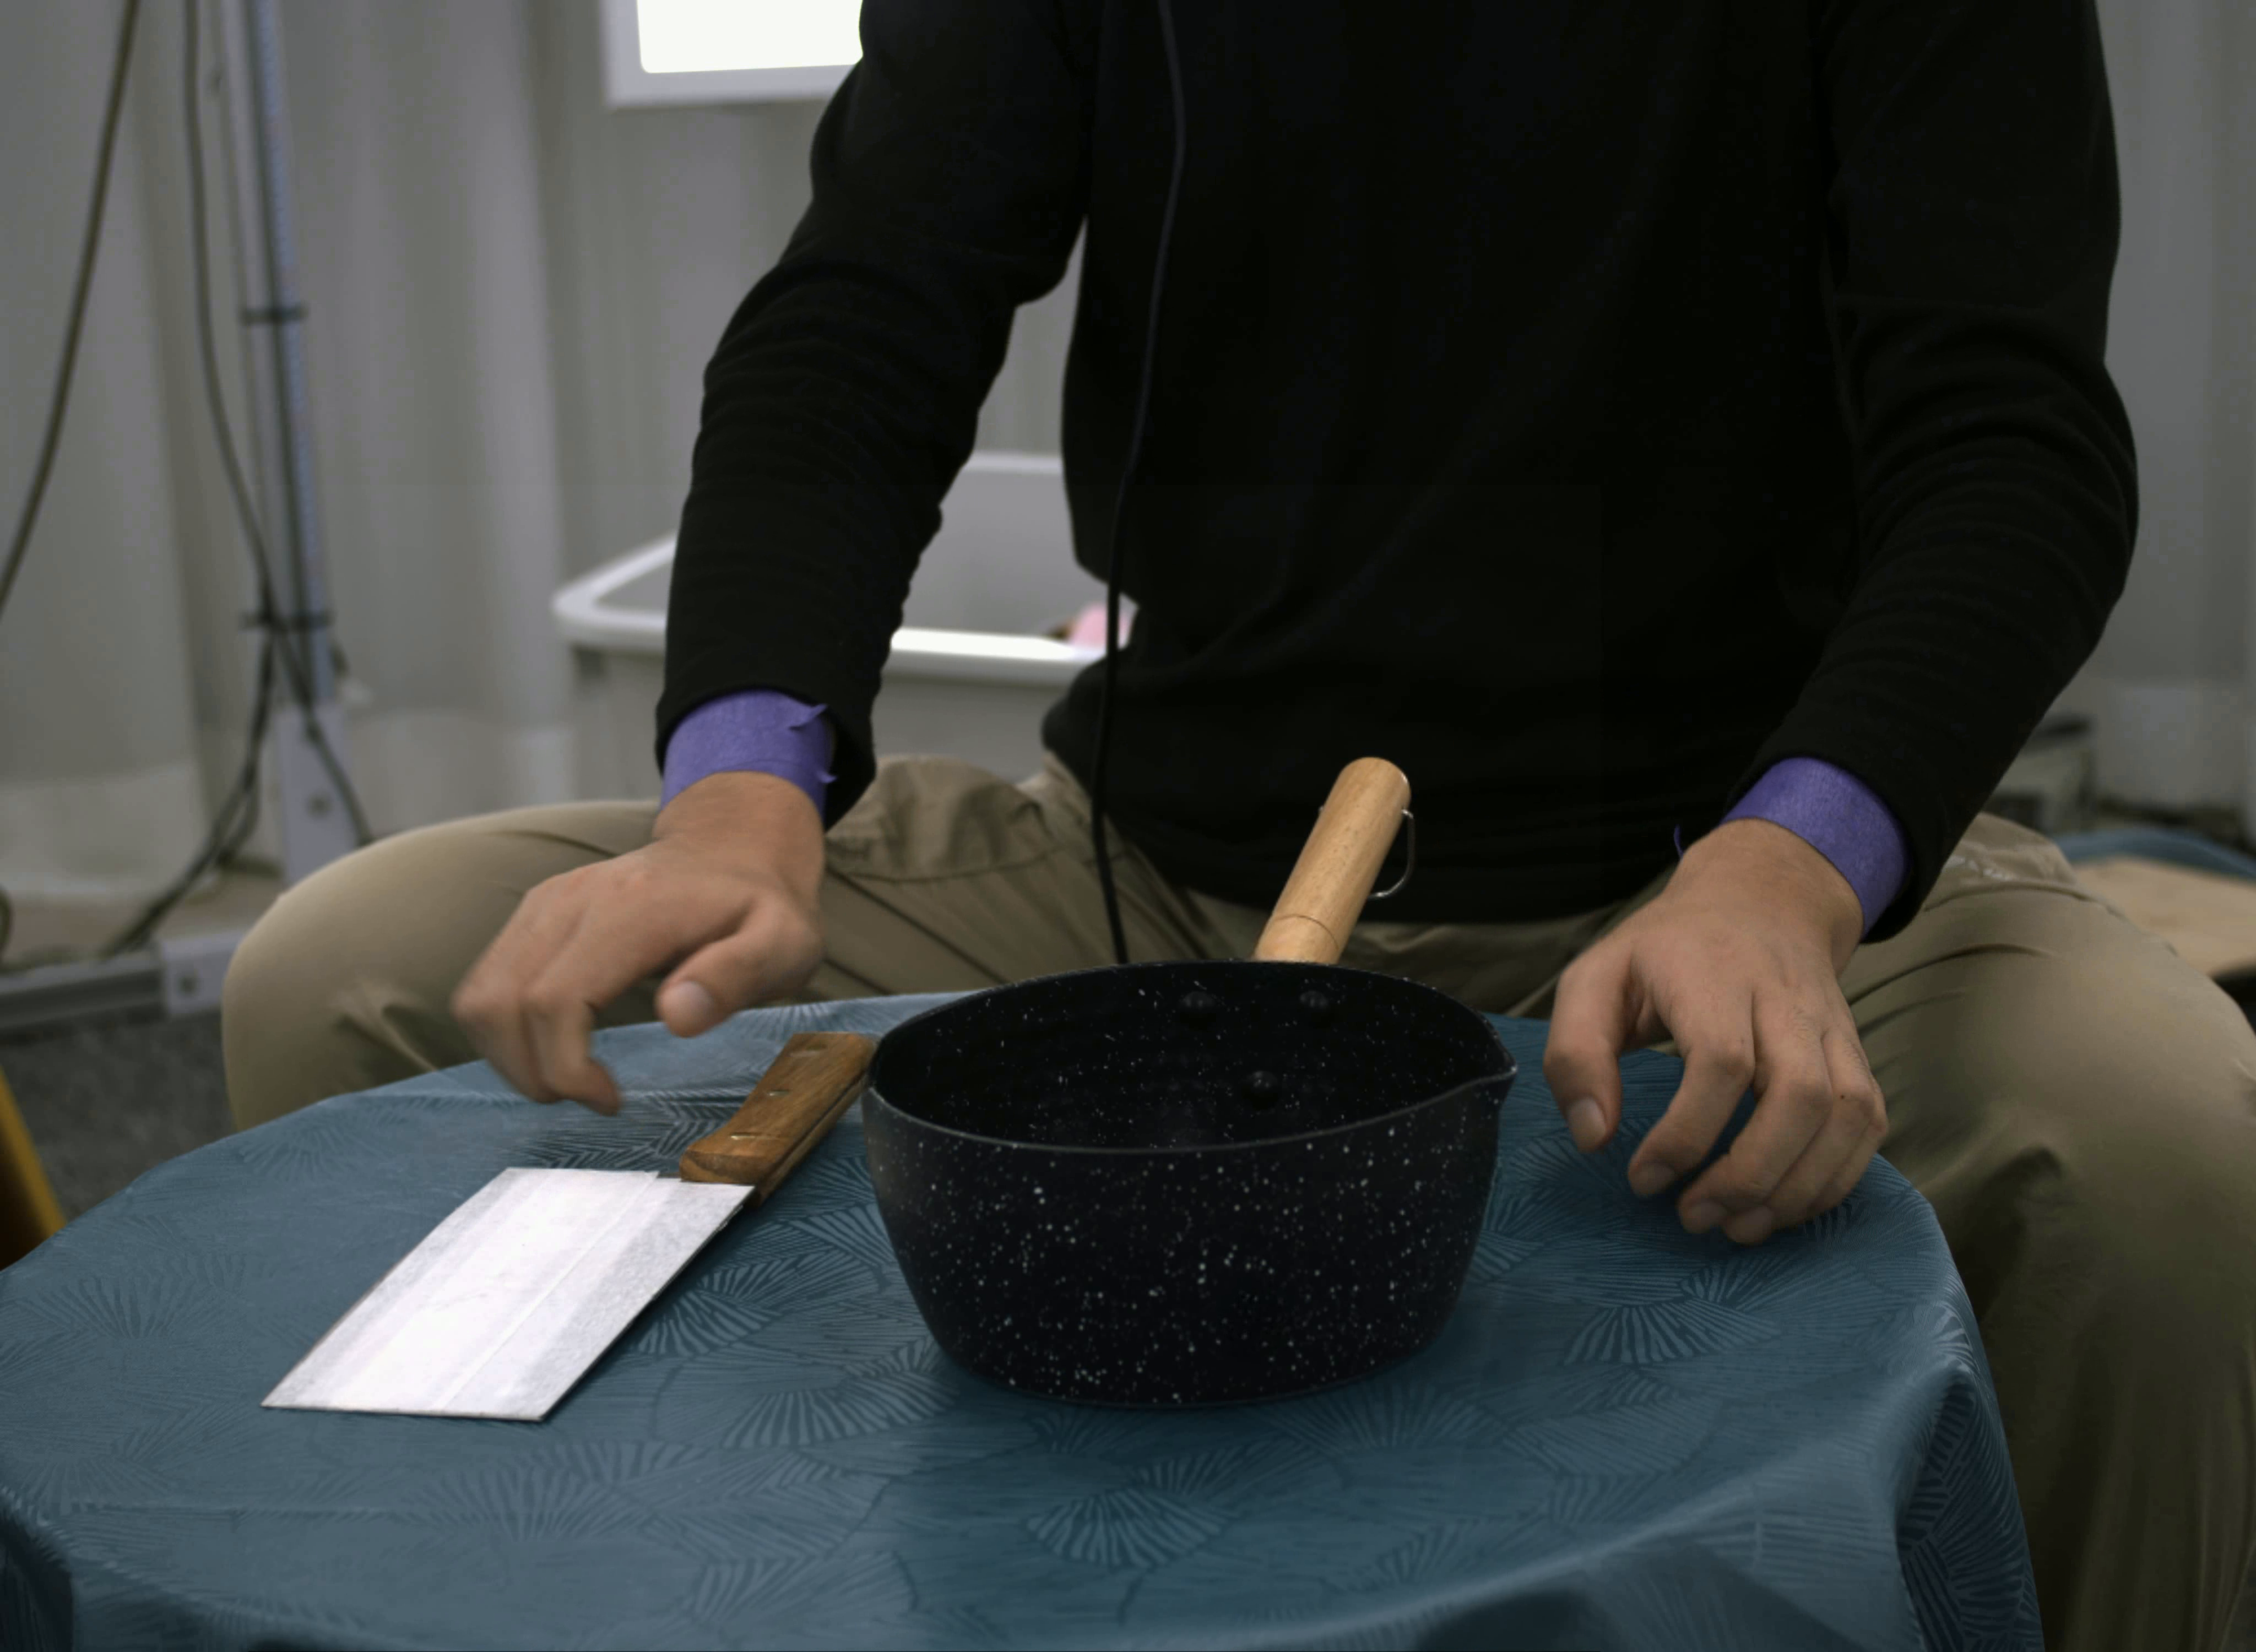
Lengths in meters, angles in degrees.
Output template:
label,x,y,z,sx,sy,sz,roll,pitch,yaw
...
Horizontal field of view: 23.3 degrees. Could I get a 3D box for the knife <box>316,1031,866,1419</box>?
label,x,y,z,sx,sy,sz,roll,pitch,yaw
knife,-0.164,0.121,1.691,0.093,0.021,0.307,0,17,17

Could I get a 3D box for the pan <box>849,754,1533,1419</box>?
label,x,y,z,sx,sy,sz,roll,pitch,yaw
pan,0.036,0.074,1.658,0.207,0.108,0.344,1,16,15
